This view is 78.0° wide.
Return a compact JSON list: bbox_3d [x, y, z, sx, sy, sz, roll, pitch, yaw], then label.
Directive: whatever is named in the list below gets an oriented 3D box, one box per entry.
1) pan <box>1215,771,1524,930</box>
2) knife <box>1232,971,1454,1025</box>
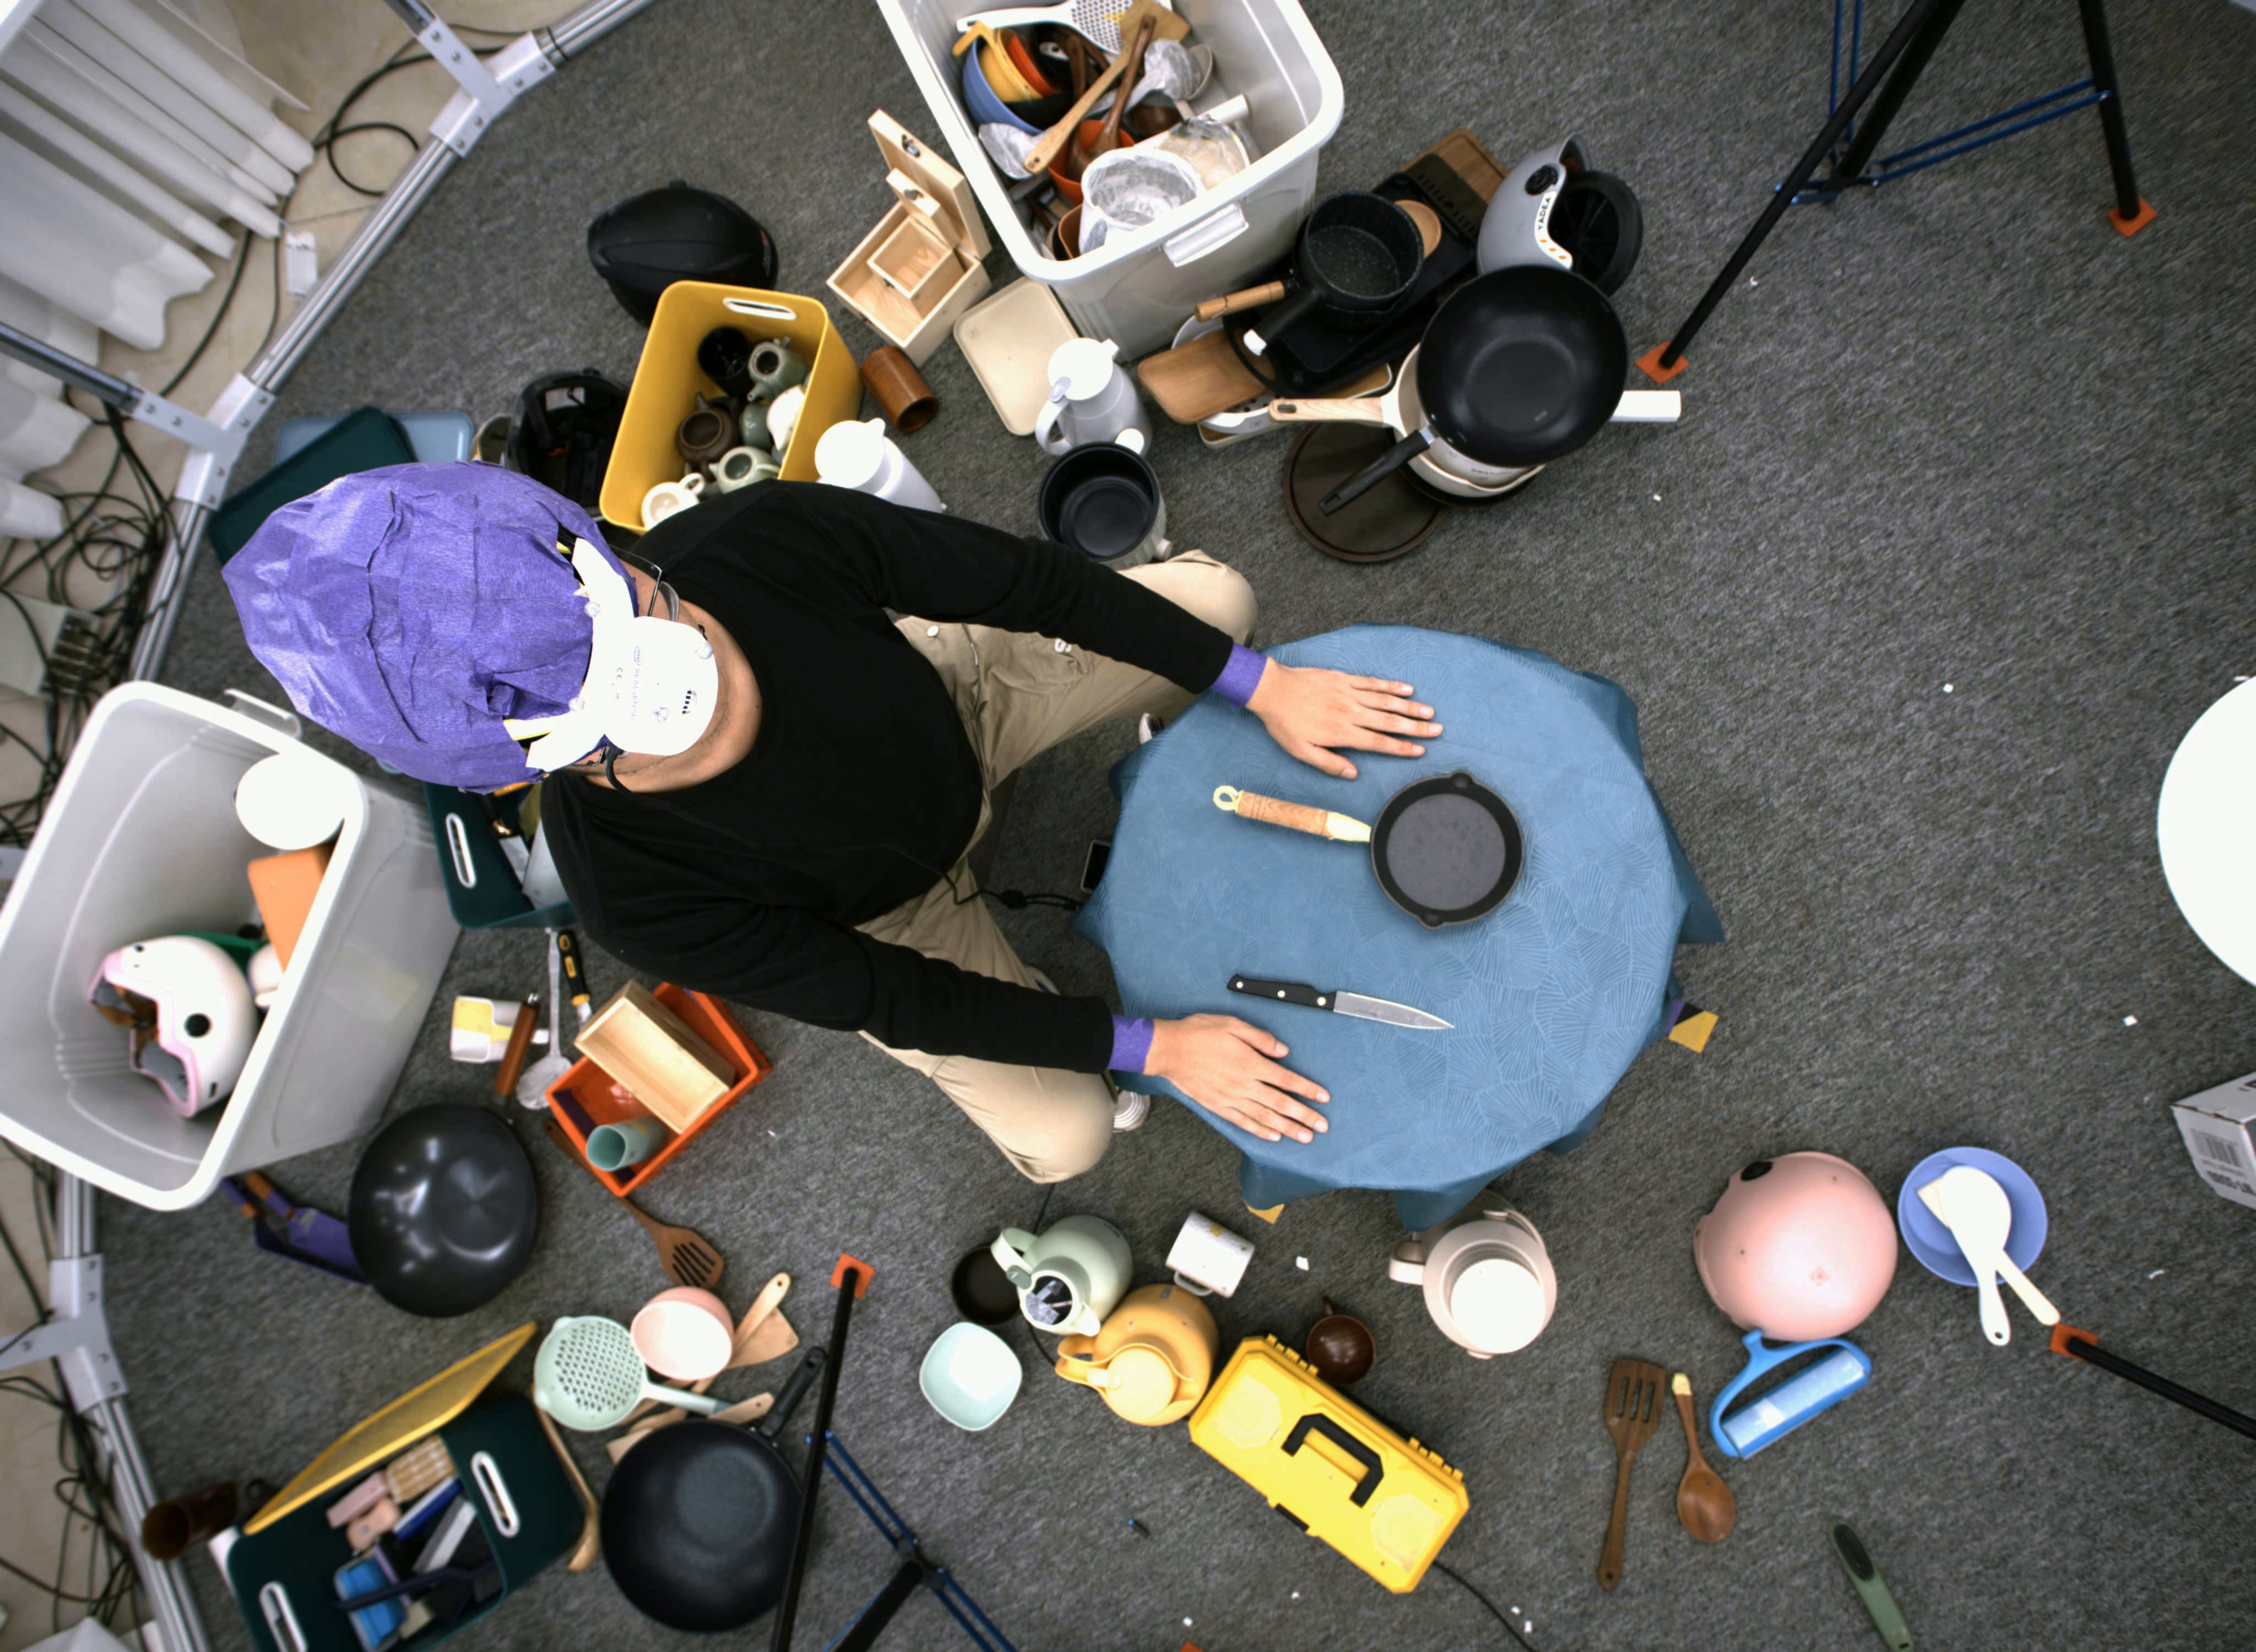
[{"bbox_3d":[0.250,0.004,1.445,0.324,0.049,0.168,15,90,12],"label":"pan"},{"bbox_3d":[0.225,0.185,1.459,0.238,0.016,0.024,11,88,9],"label":"knife"}]
